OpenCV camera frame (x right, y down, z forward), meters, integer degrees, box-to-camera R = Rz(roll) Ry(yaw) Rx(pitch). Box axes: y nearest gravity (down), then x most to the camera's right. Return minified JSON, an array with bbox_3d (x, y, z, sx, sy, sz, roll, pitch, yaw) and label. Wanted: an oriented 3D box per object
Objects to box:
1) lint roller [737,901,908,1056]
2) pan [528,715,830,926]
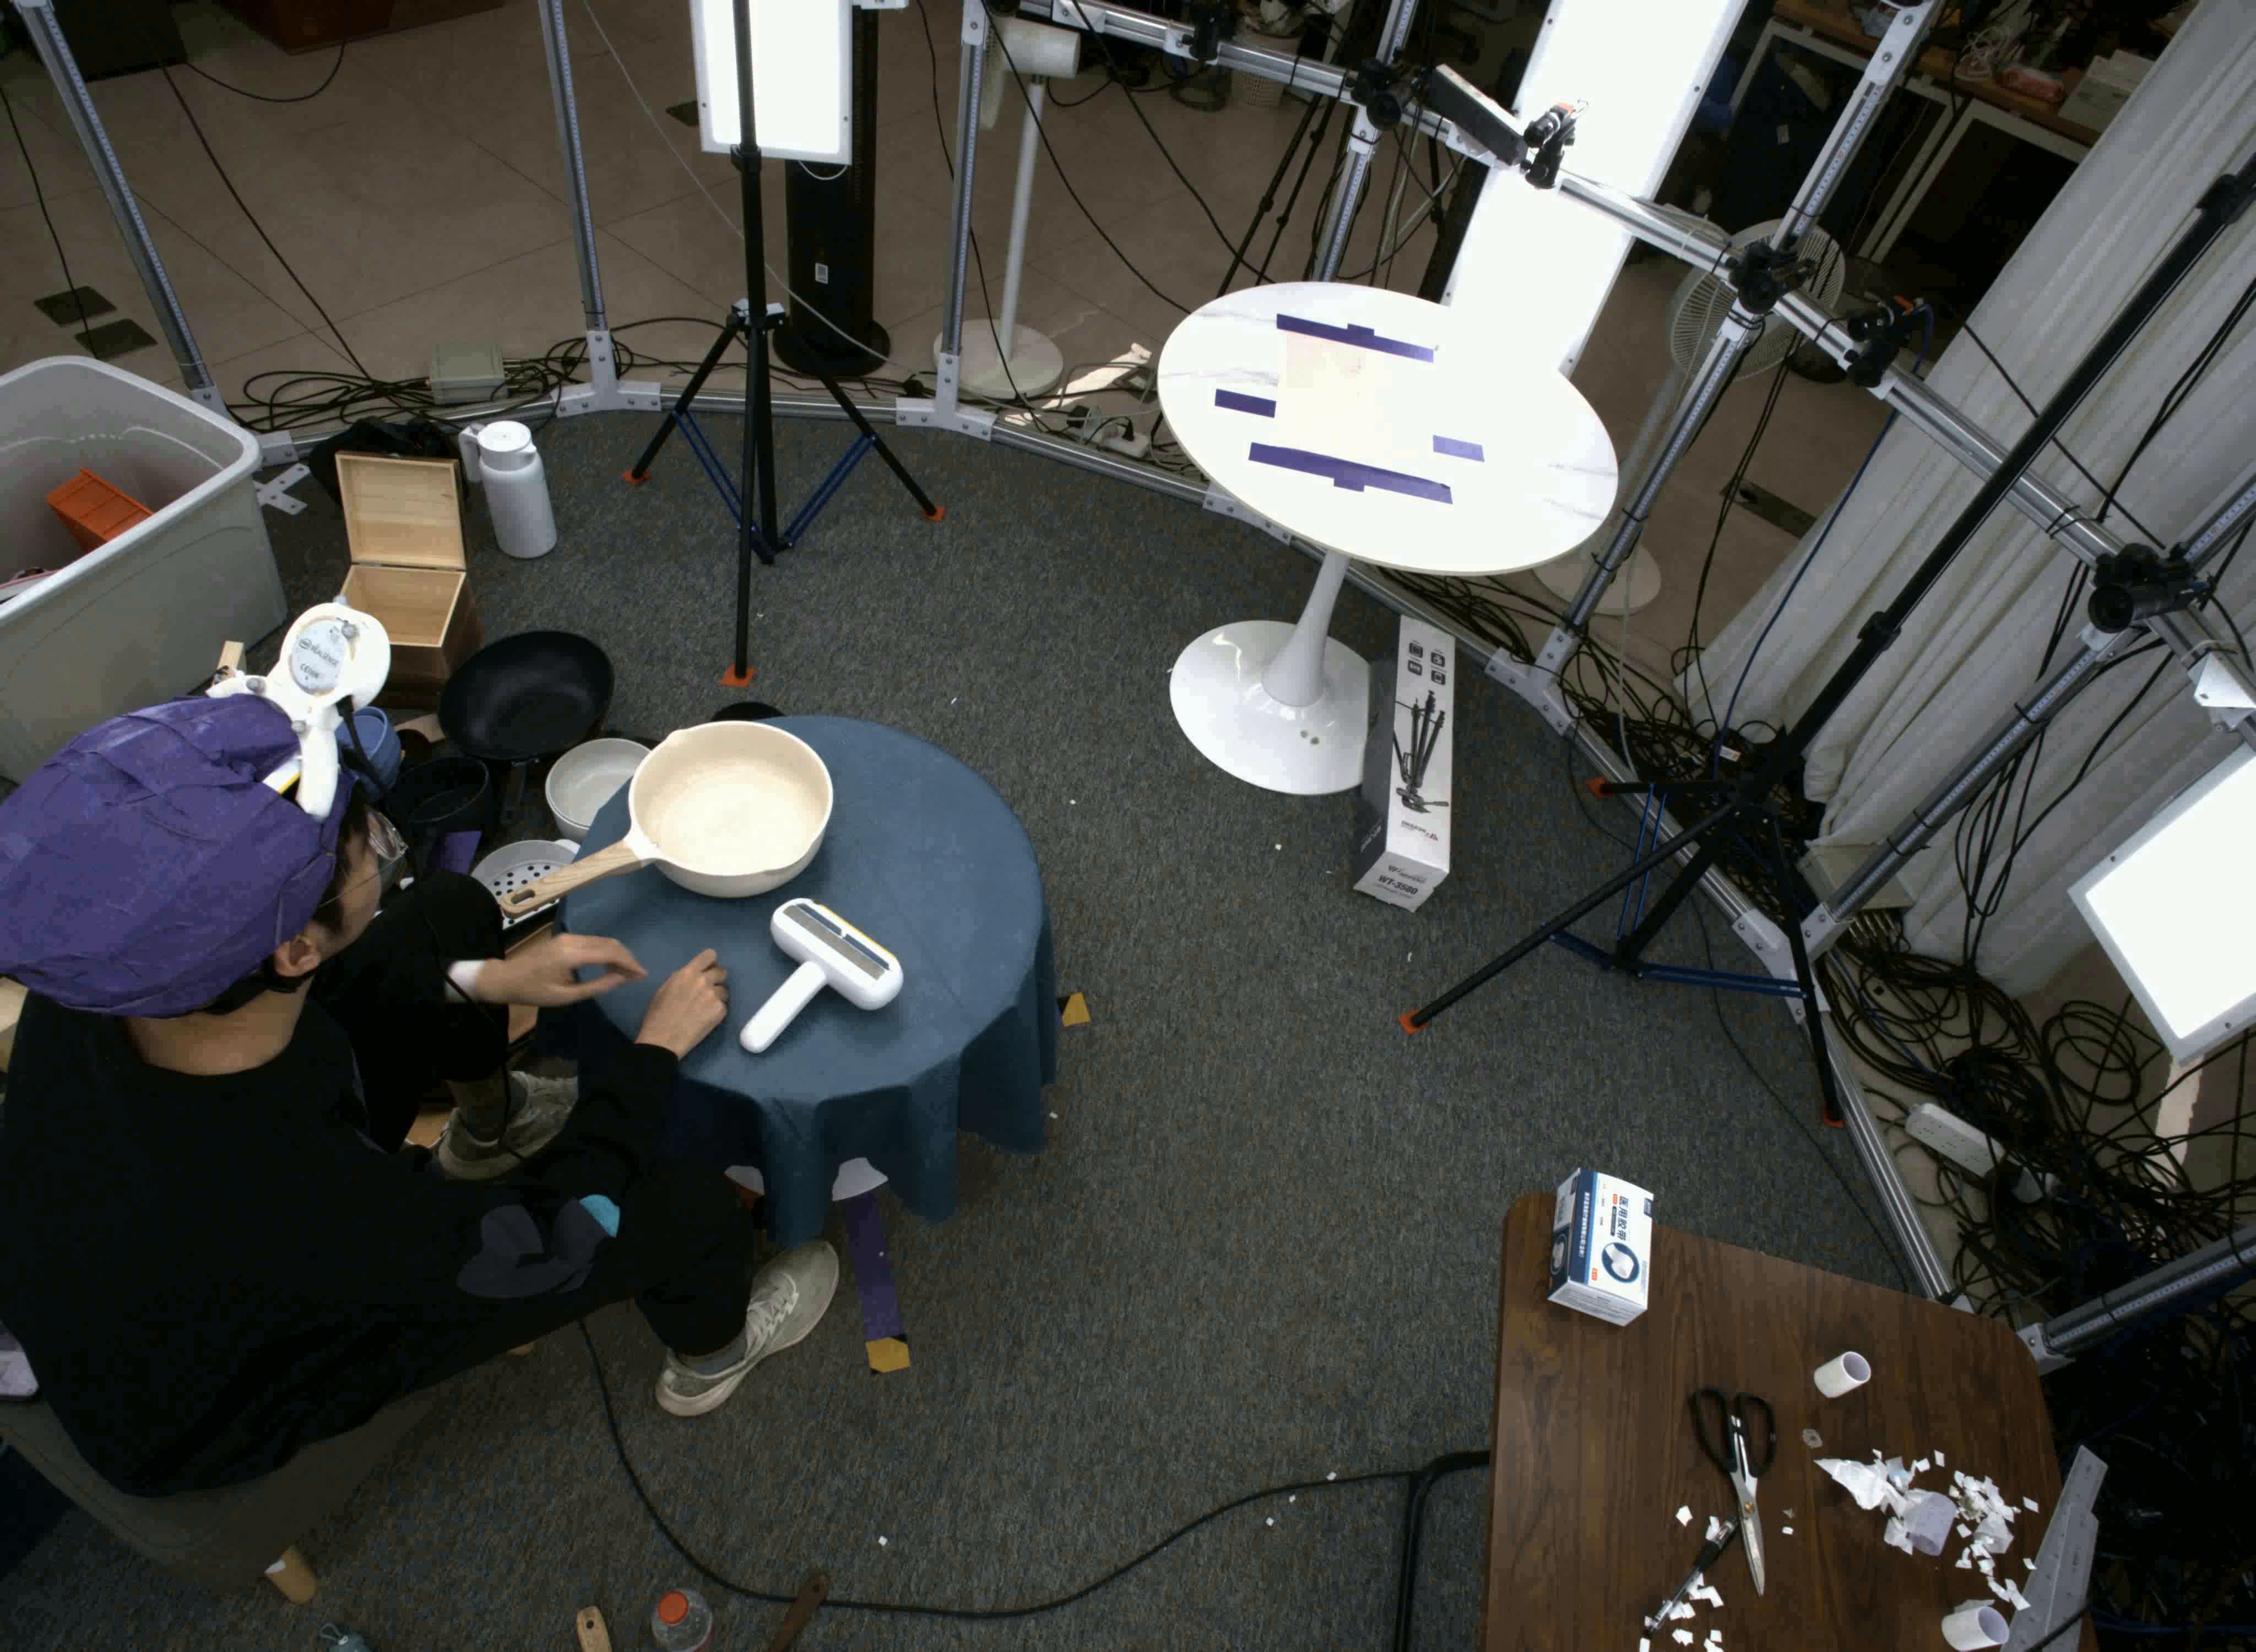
[{"bbox_3d":[-0.388,0.193,1.553,0.188,0.076,0.192,37,55,20],"label":"lint roller"},{"bbox_3d":[-0.574,0.020,1.611,0.258,0.104,0.436,44,55,16],"label":"pan"}]
